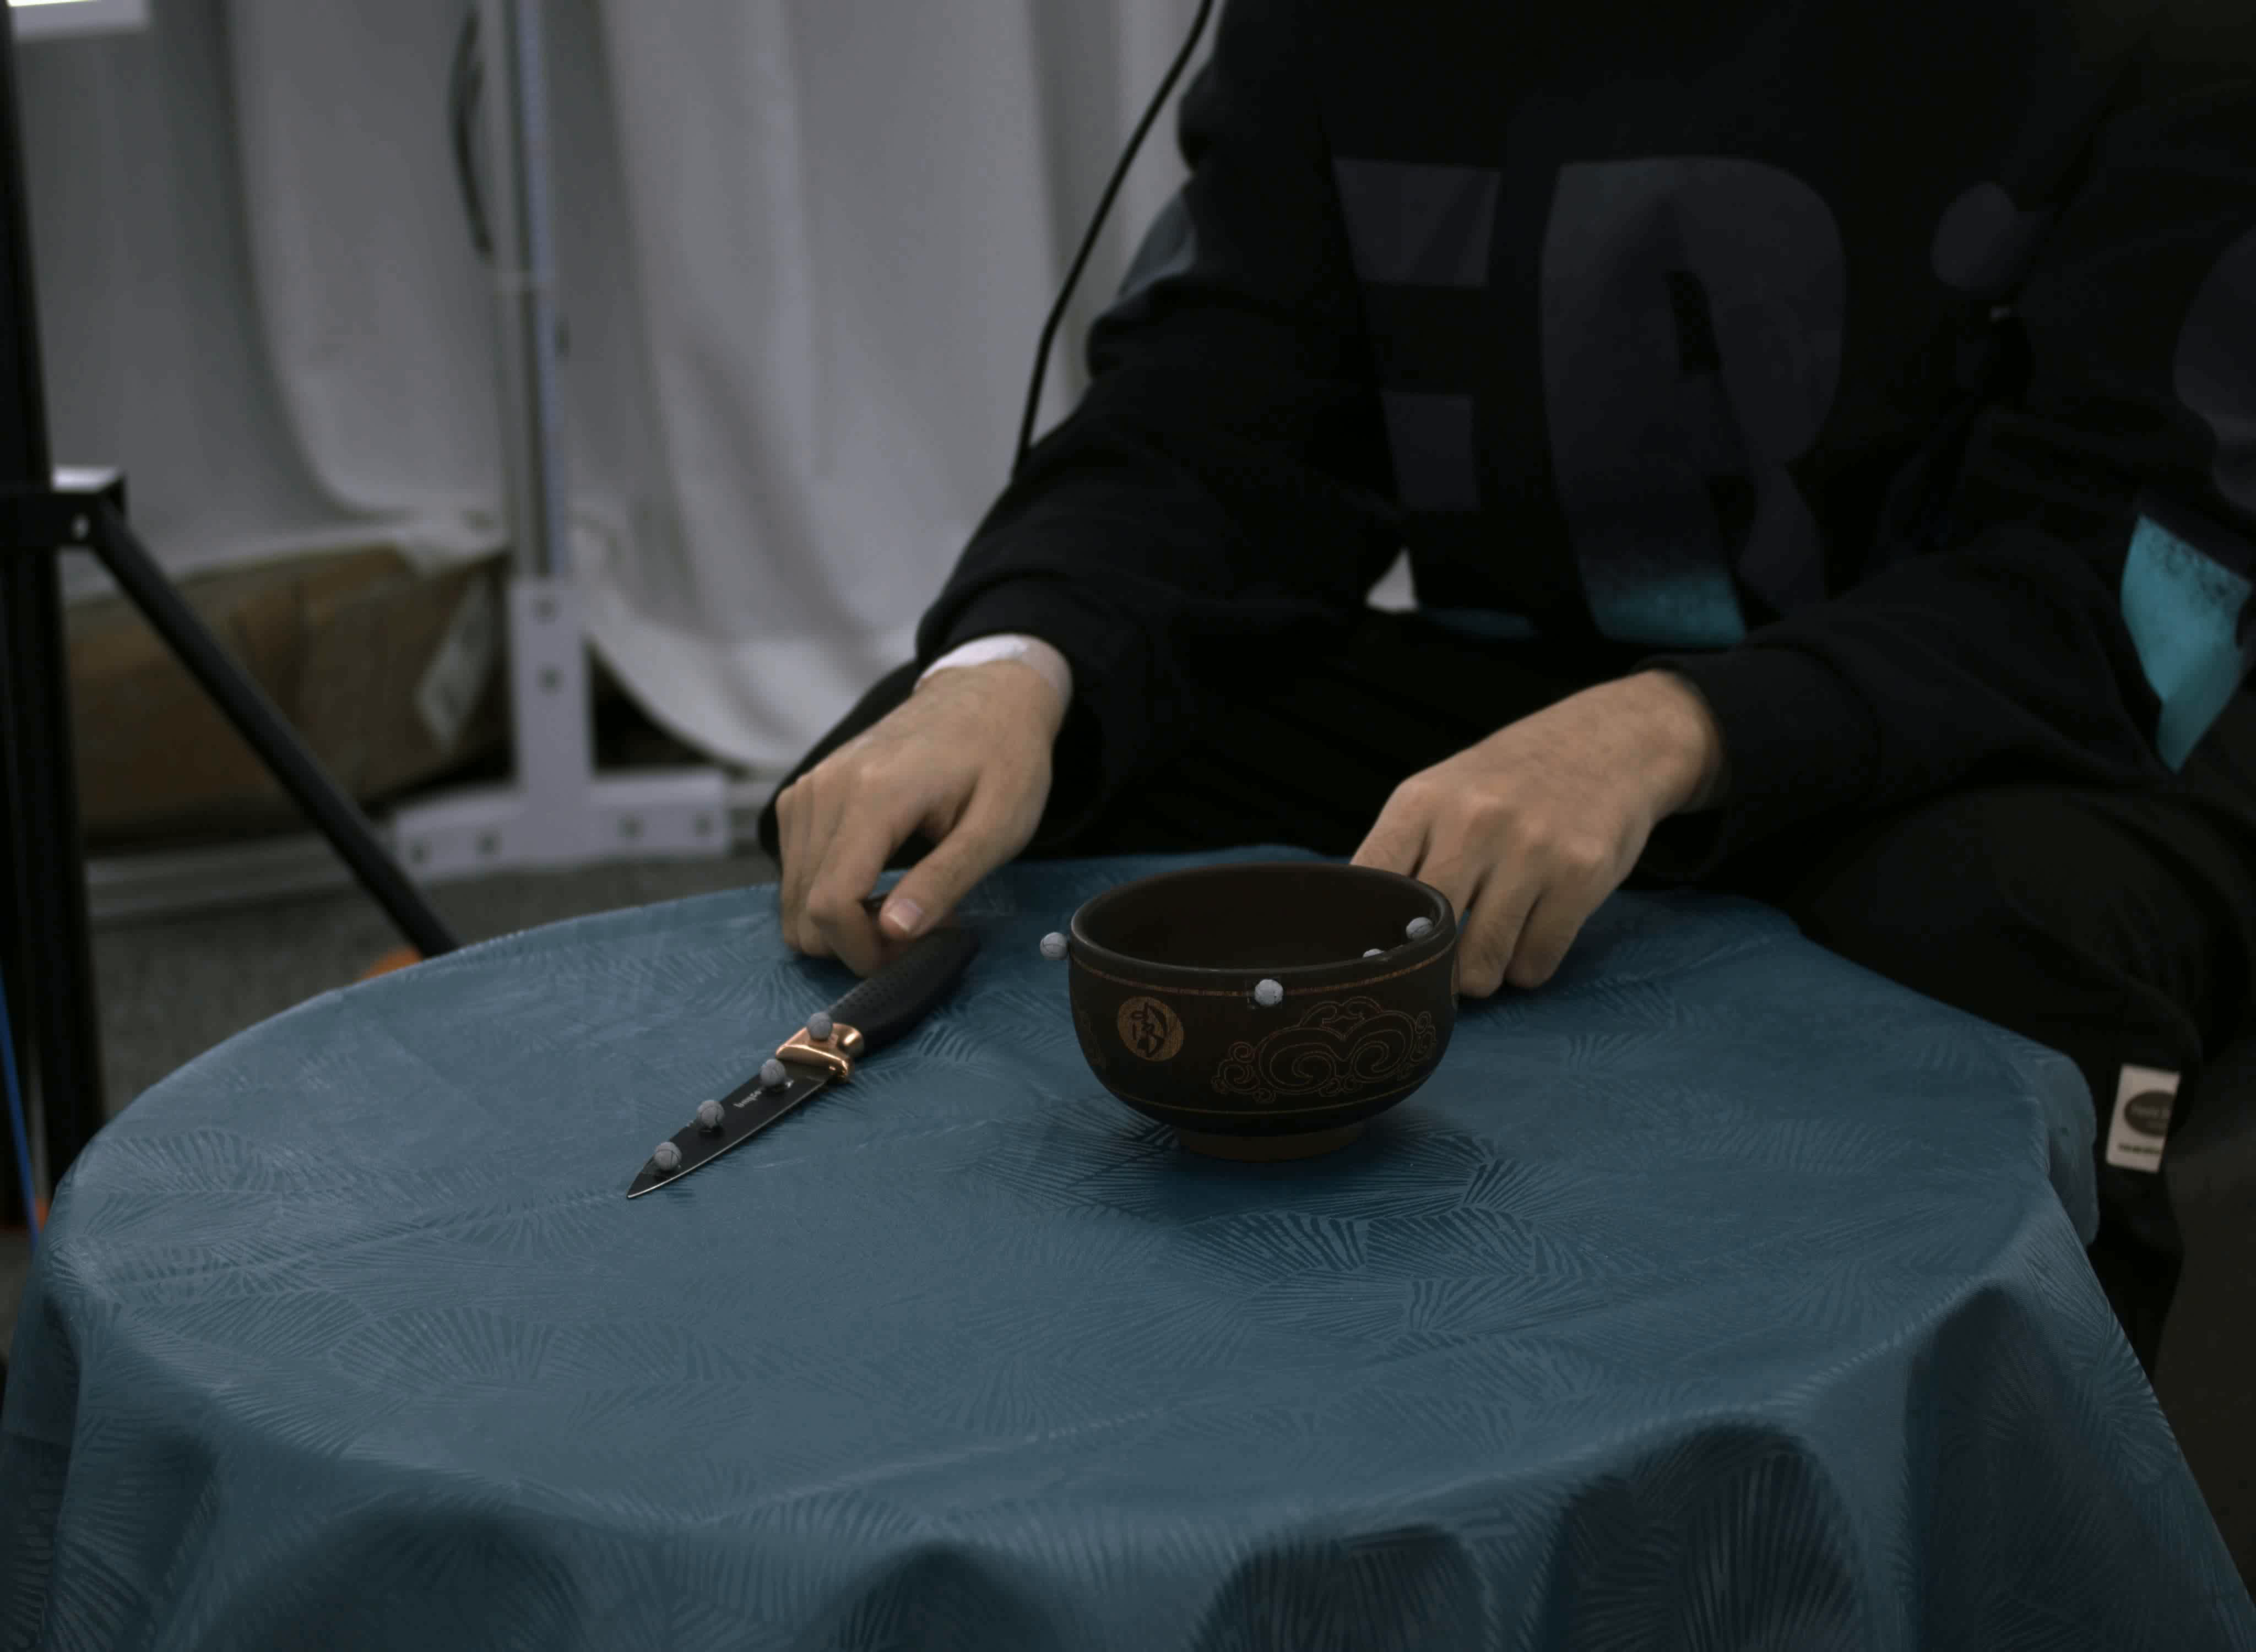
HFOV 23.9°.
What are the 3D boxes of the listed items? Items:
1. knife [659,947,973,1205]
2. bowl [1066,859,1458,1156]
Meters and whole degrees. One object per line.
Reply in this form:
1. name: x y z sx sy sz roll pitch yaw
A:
1. knife: -0.099 0.077 1.664 0.026 0.017 0.222 11 21 20
2. bowl: 0.040 0.058 1.592 0.117 0.070 0.118 -1 14 -1
